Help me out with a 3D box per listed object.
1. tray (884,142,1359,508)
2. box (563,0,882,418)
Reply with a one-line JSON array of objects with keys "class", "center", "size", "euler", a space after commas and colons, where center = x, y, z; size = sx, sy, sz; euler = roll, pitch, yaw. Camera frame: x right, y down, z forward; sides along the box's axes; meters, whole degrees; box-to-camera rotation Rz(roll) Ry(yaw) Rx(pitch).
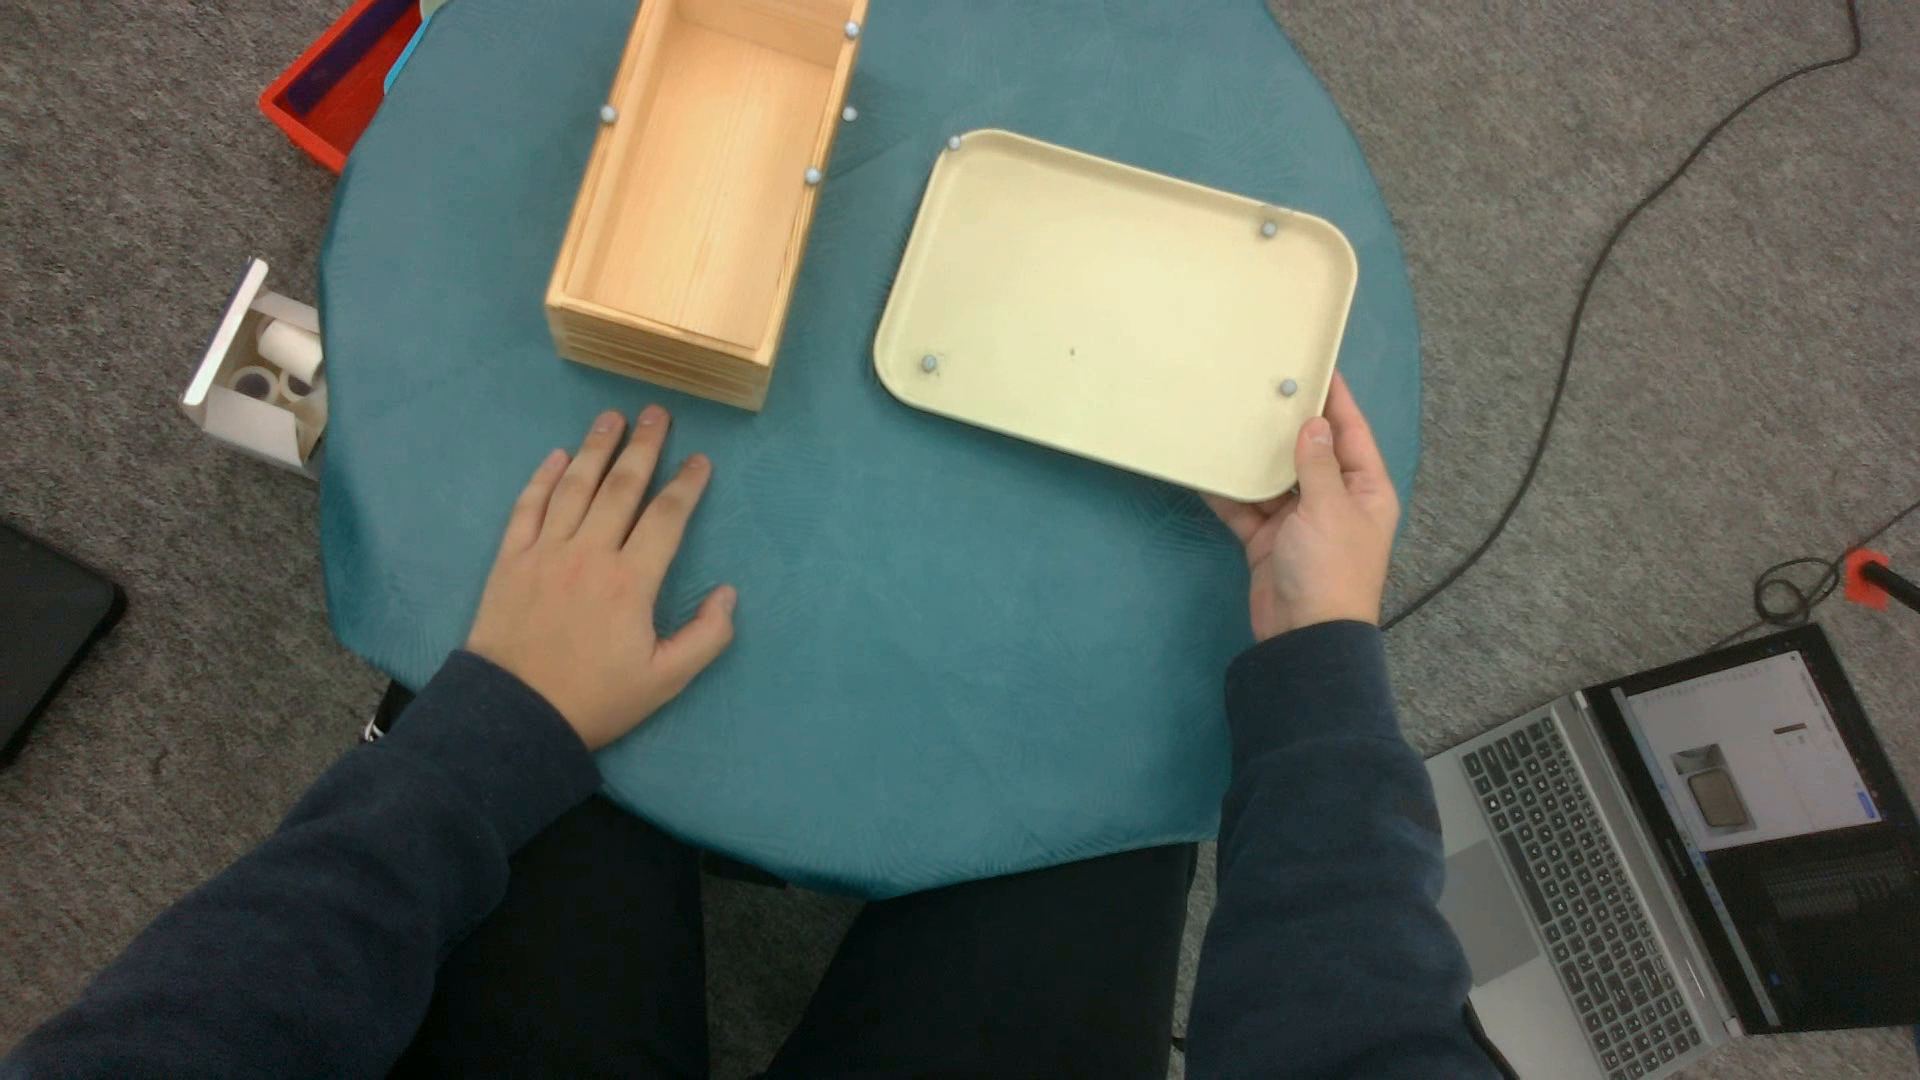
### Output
[{"class": "tray", "center": [0.089, -0.120, 0.758], "size": [0.239, 0.017, 0.171], "euler": [17, 75, 4]}, {"class": "box", "center": [-0.121, -0.184, 0.720], "size": [0.107, 0.080, 0.212], "euler": [15, 76, -7]}]
